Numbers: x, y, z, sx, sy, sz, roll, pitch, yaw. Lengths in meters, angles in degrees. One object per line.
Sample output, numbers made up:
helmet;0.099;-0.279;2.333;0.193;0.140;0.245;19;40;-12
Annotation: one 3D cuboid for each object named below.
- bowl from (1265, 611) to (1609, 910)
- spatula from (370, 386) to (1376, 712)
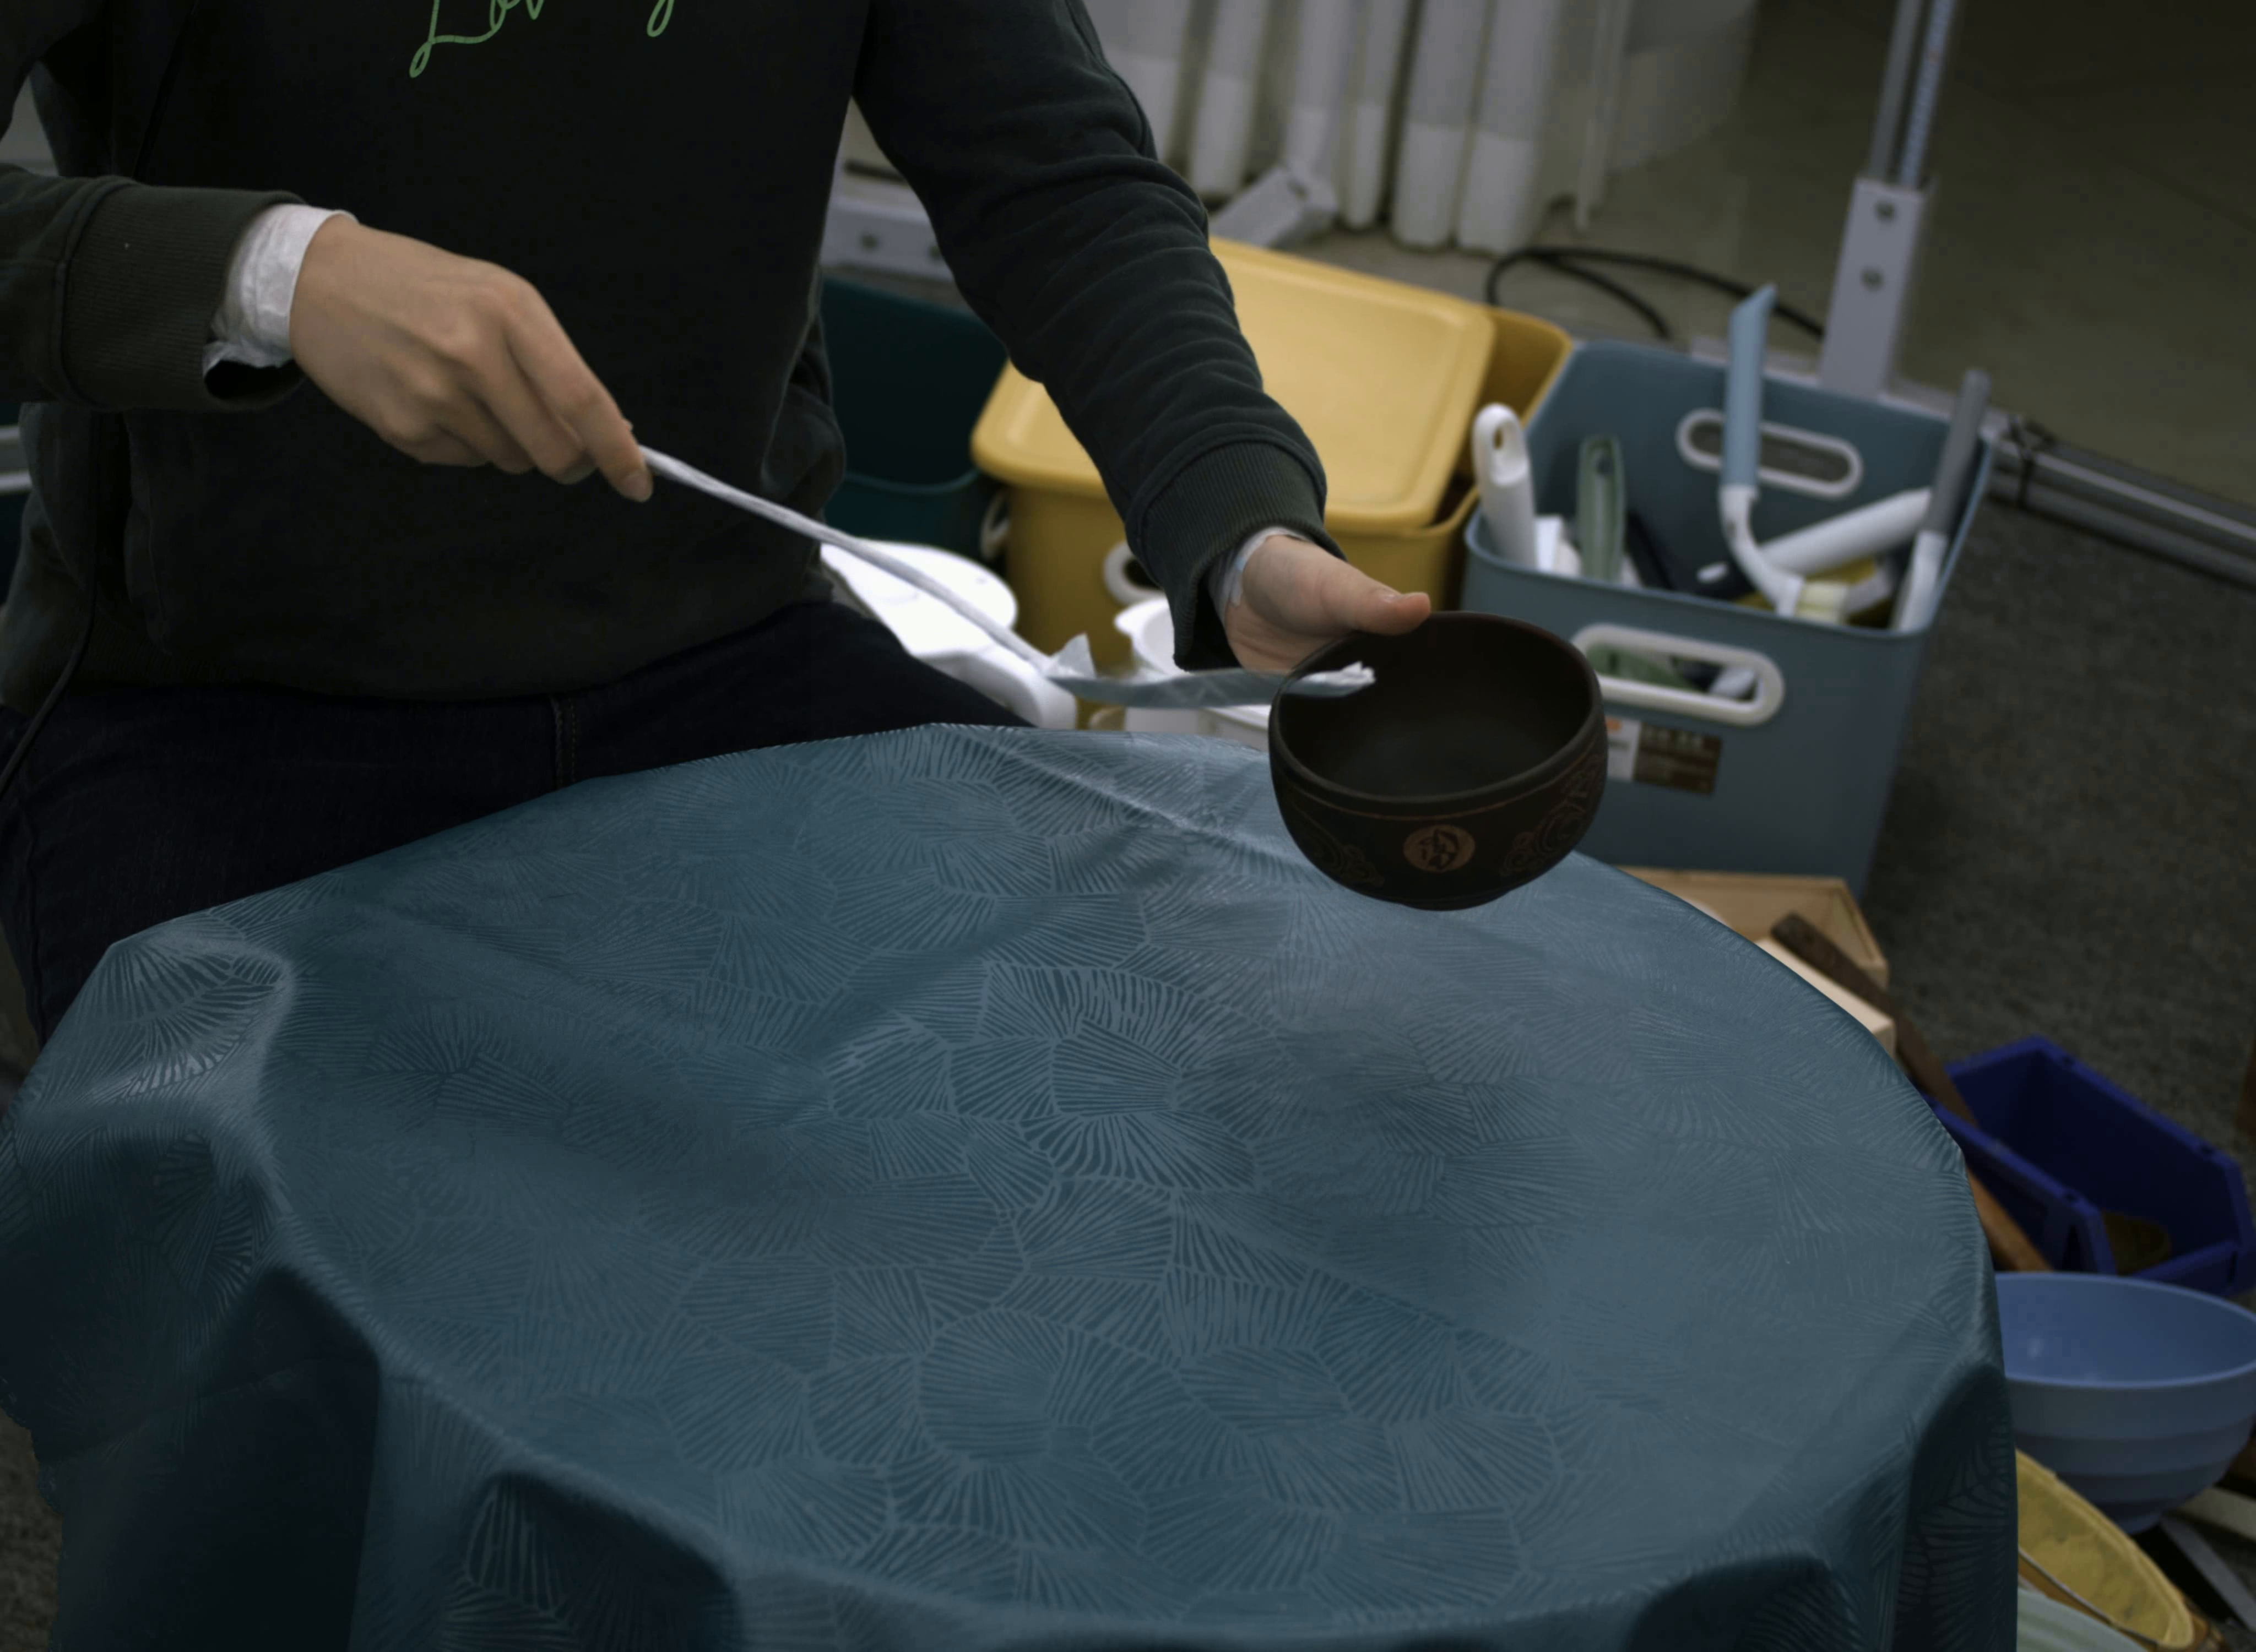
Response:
bowl;0.108;-0.015;1.838;0.118;0.069;0.119;-7;33;4
spatula;-0.094;-0.096;1.719;0.366;0.045;0.098;24;10;19
